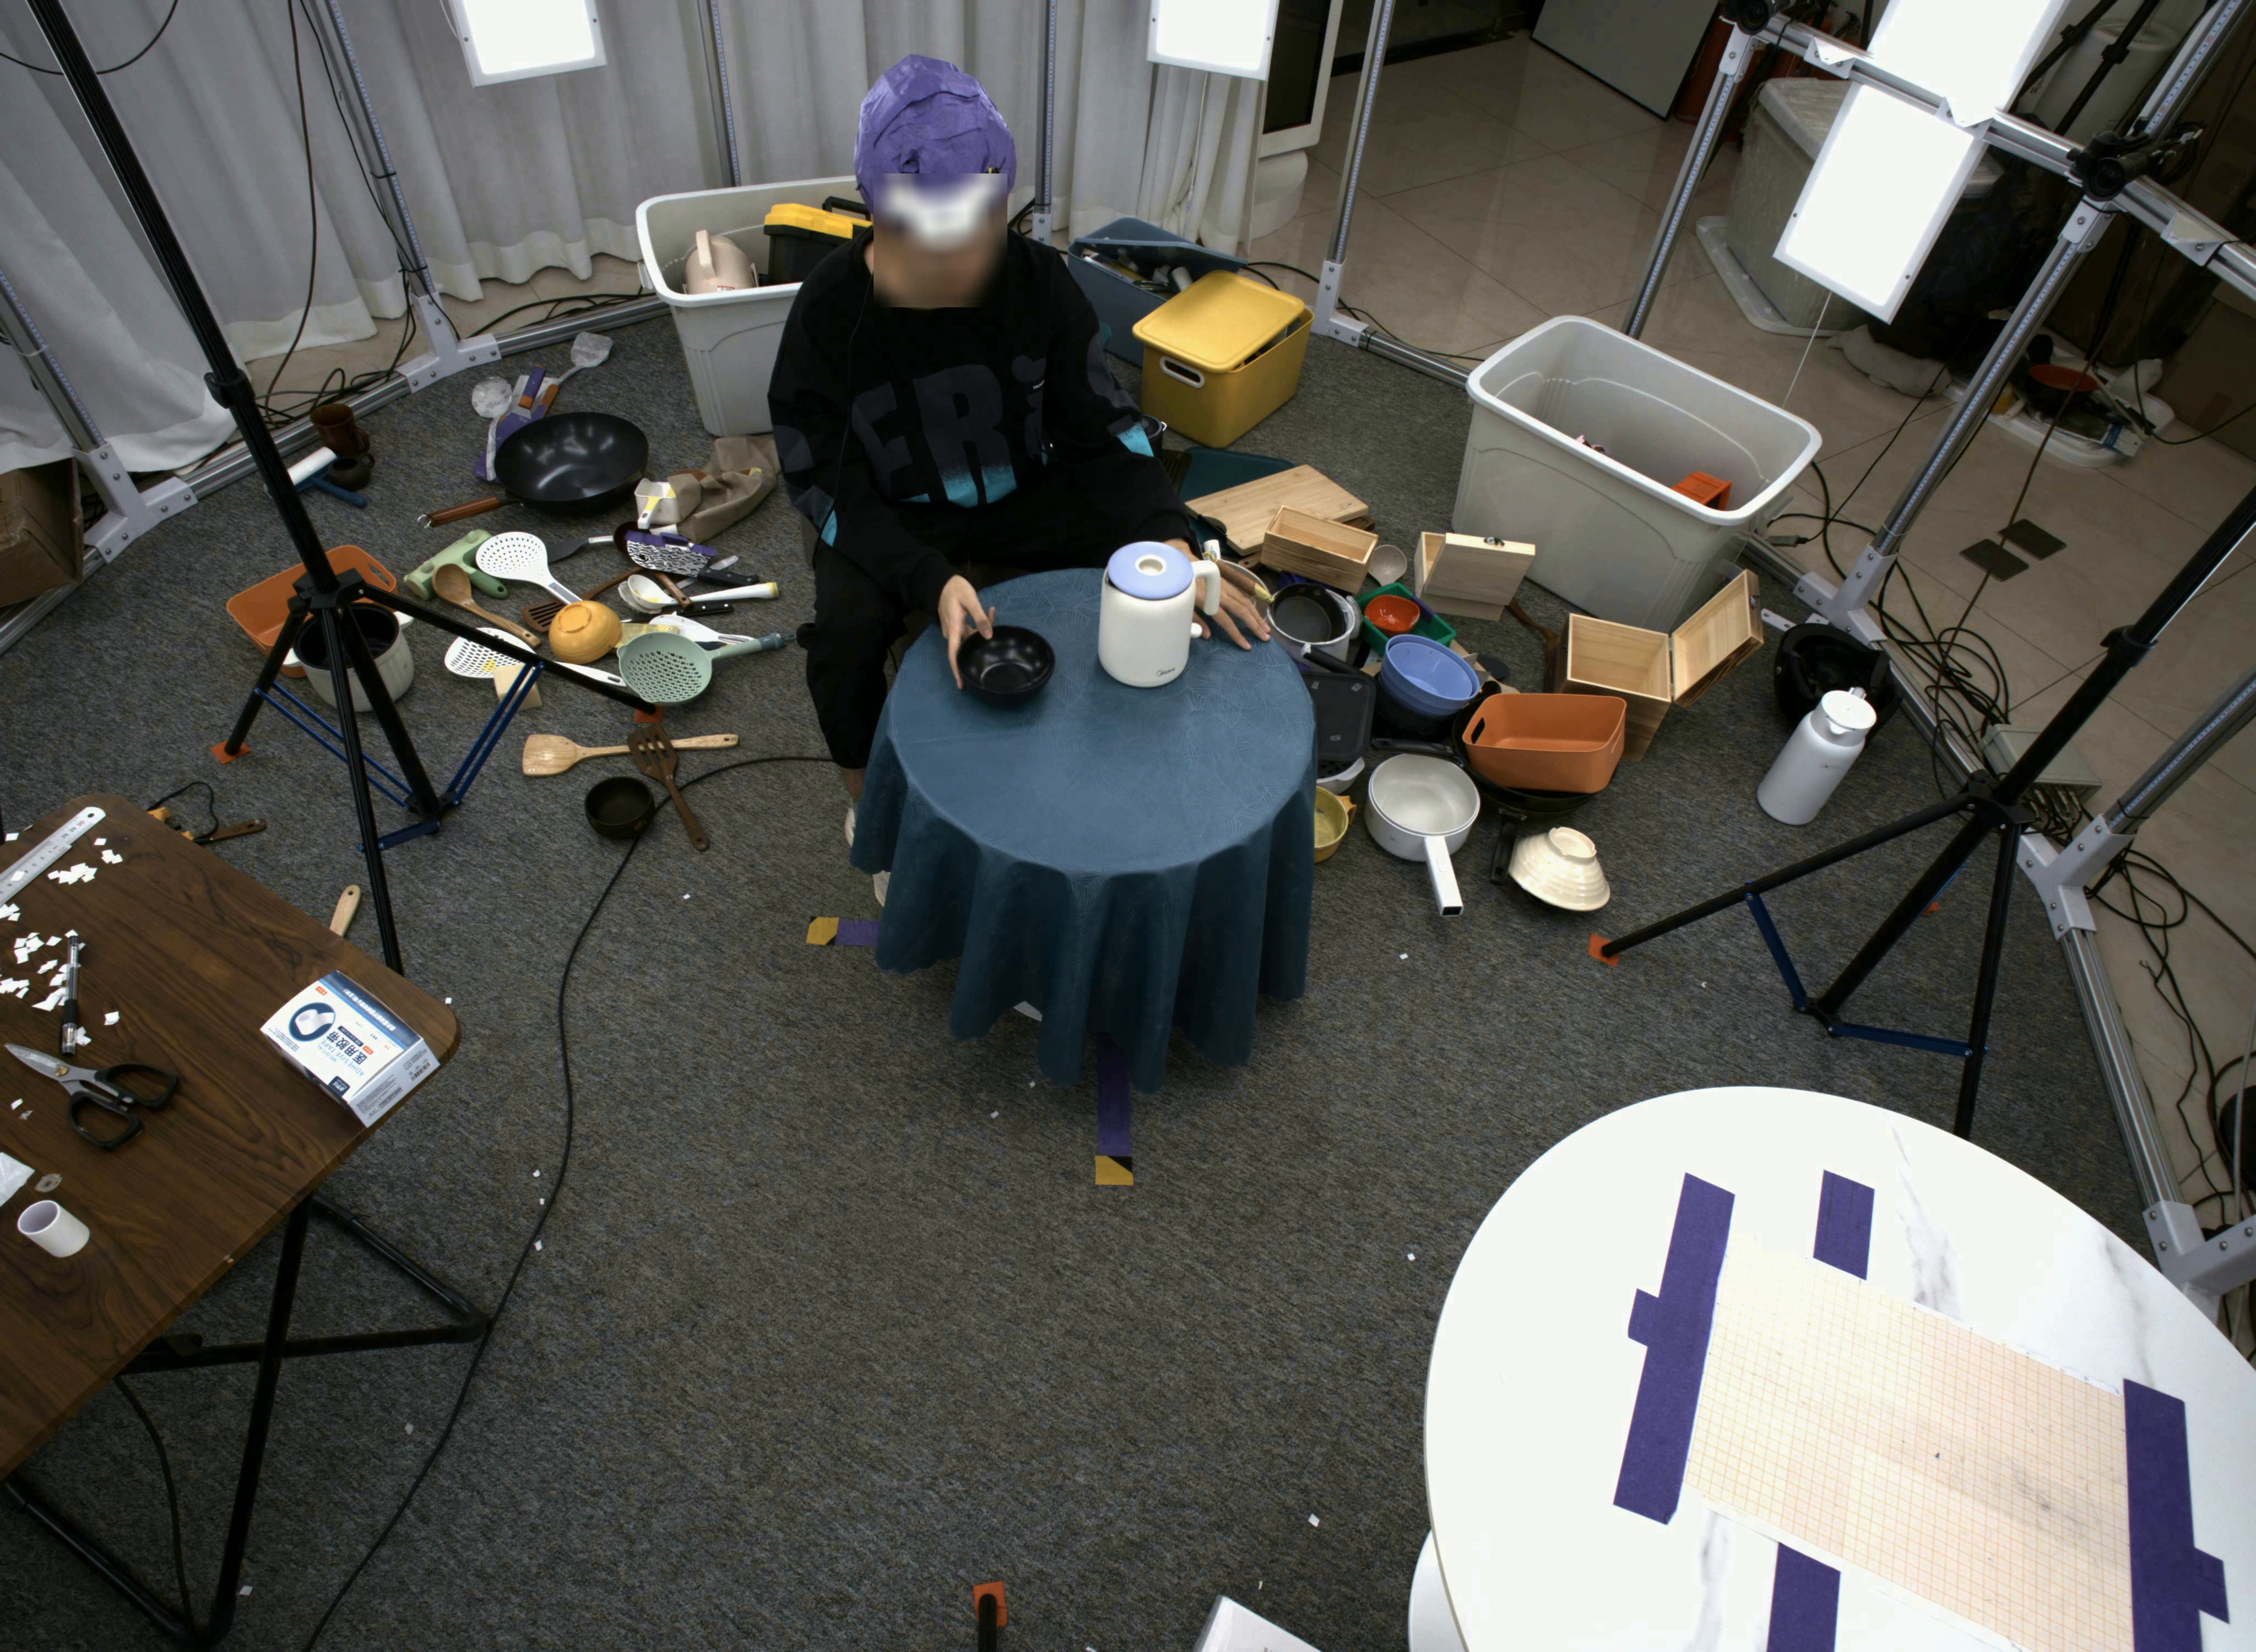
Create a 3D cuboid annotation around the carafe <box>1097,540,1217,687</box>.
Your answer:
[{"bbox_3d":[0.046,-0.308,1.828,0.191,0.178,0.135,-20,55,-23],"label":"carafe"}]

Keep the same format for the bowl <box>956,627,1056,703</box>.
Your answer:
[{"bbox_3d":[-0.171,-0.219,1.816,0.140,0.048,0.143,2,47,-2],"label":"bowl"}]
